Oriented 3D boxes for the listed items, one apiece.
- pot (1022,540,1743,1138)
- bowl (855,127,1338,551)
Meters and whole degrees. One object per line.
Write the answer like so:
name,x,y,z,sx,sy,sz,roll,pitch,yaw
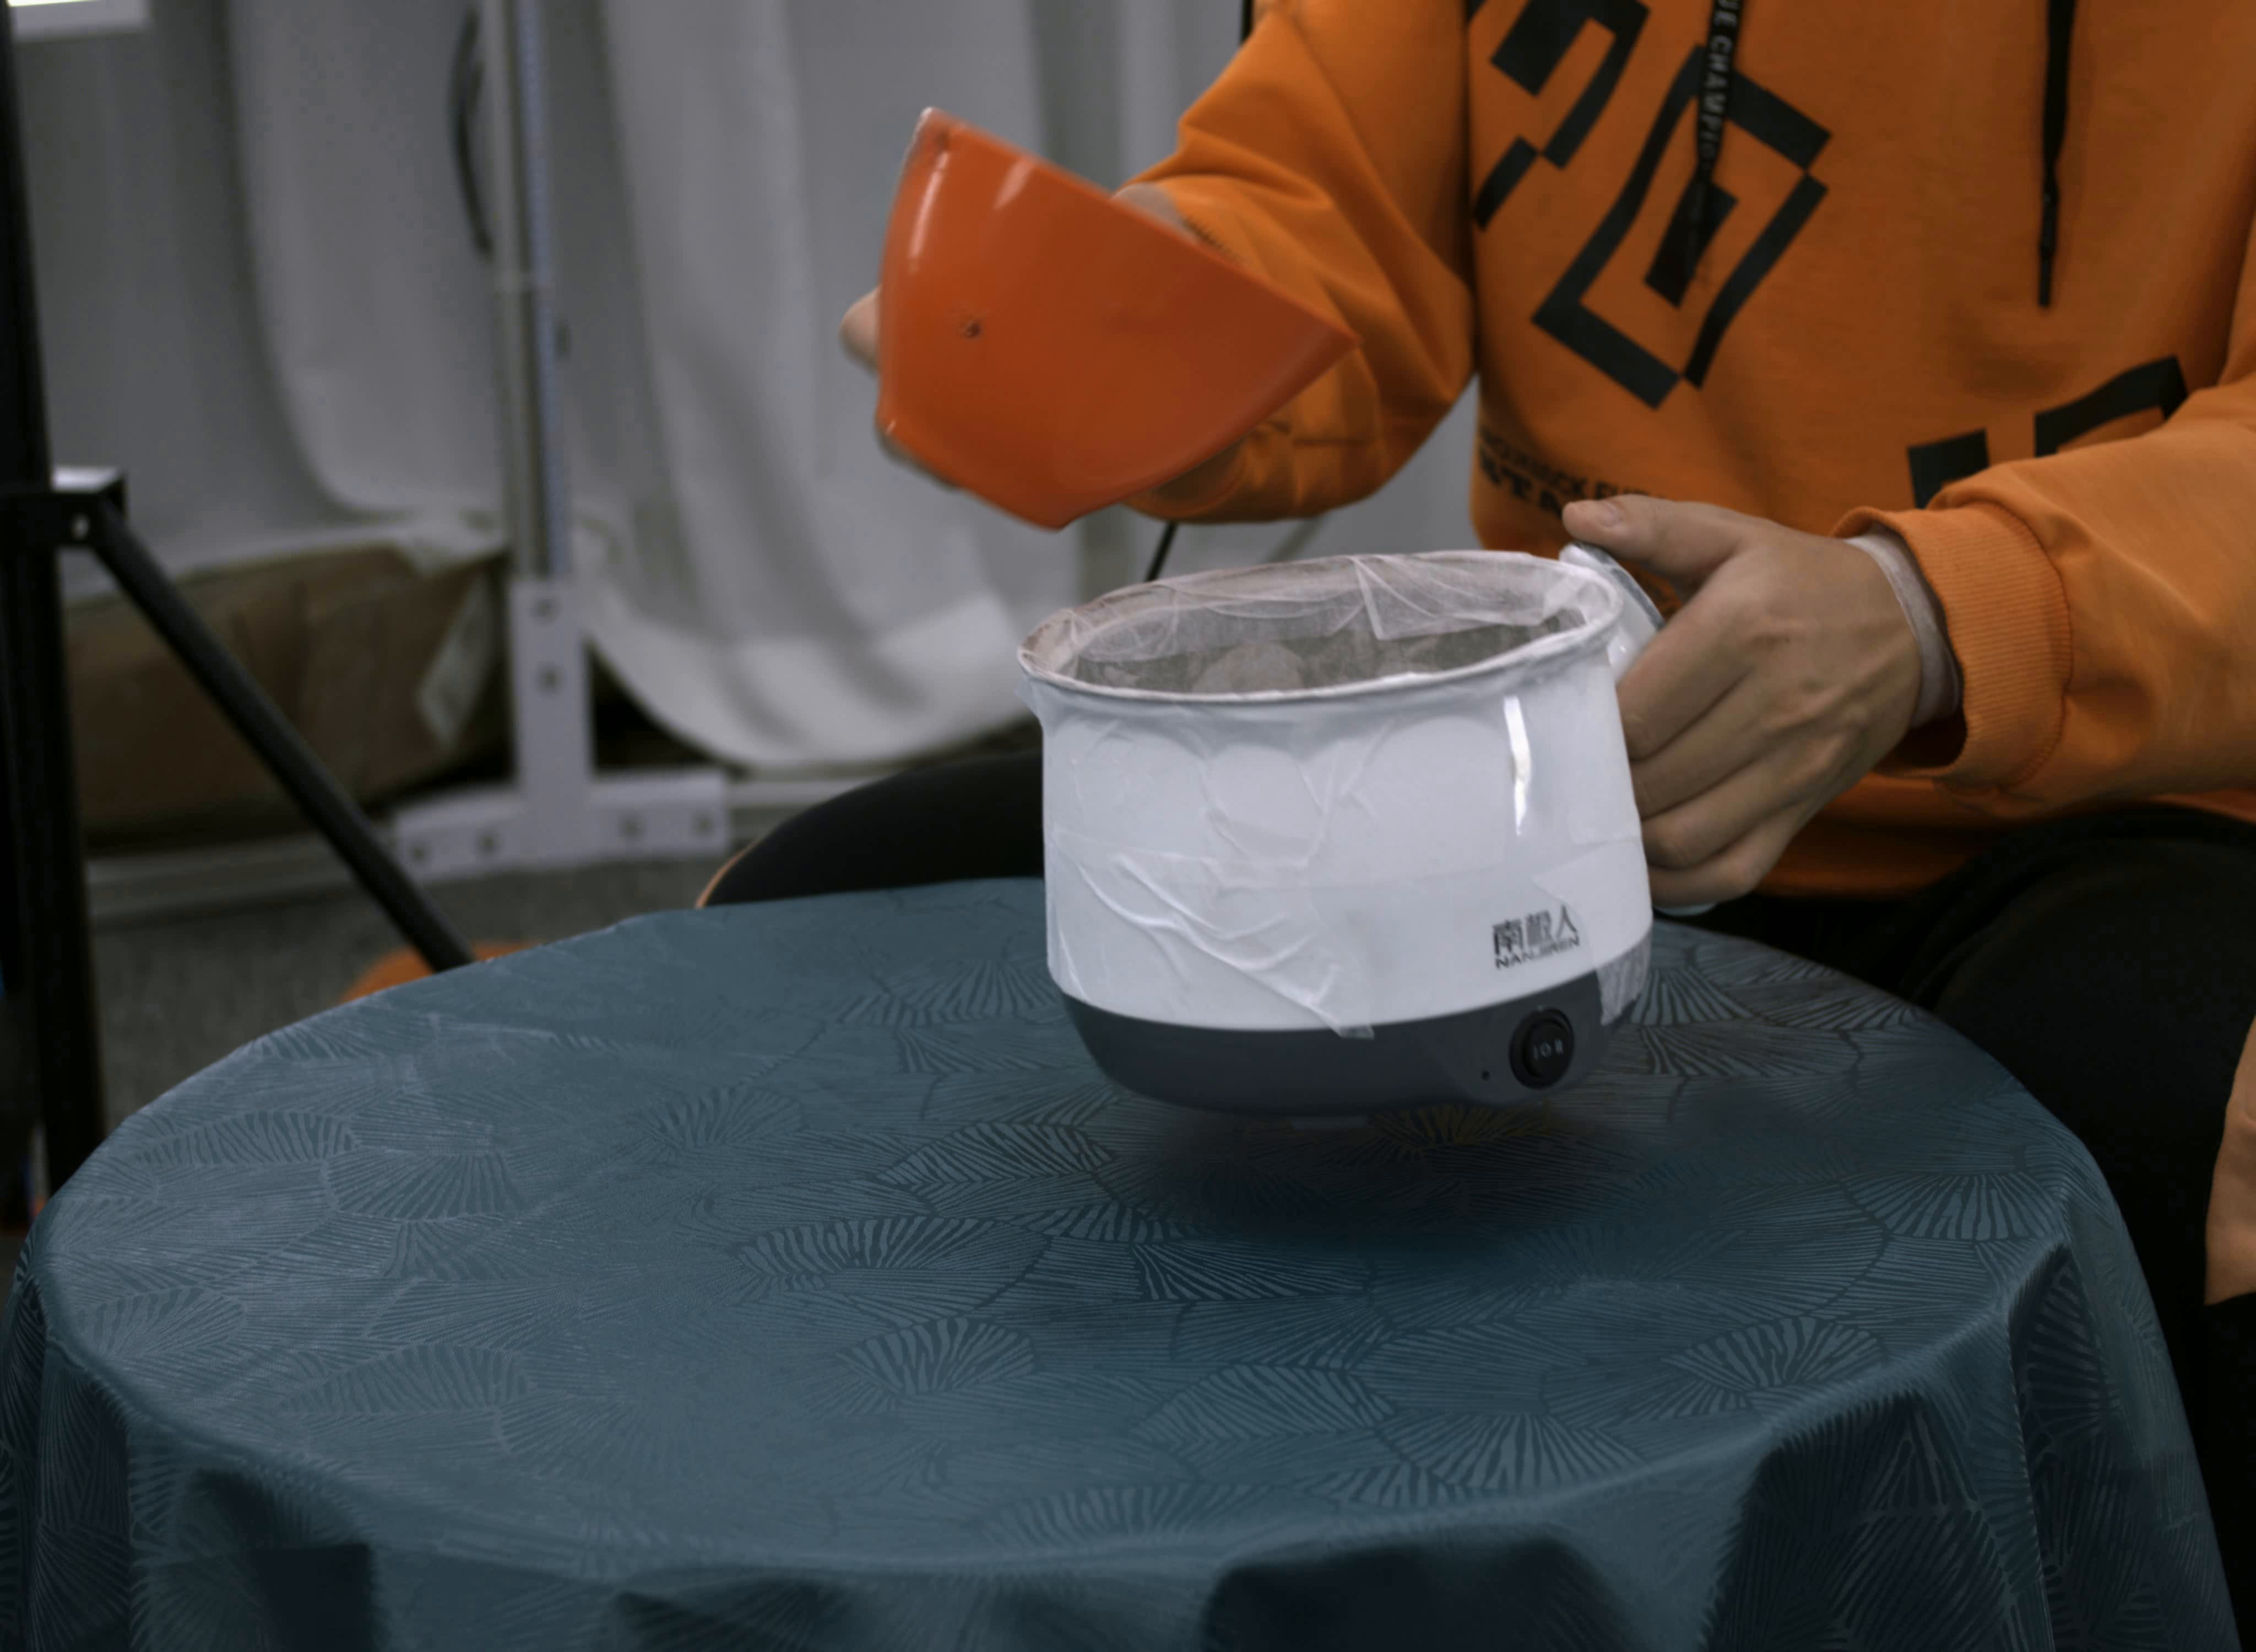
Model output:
pot,0.084,-0.003,1.561,0.228,0.136,0.183,-16,18,-34
bowl,-0.024,-0.139,1.592,0.147,0.105,0.148,29,10,-7
